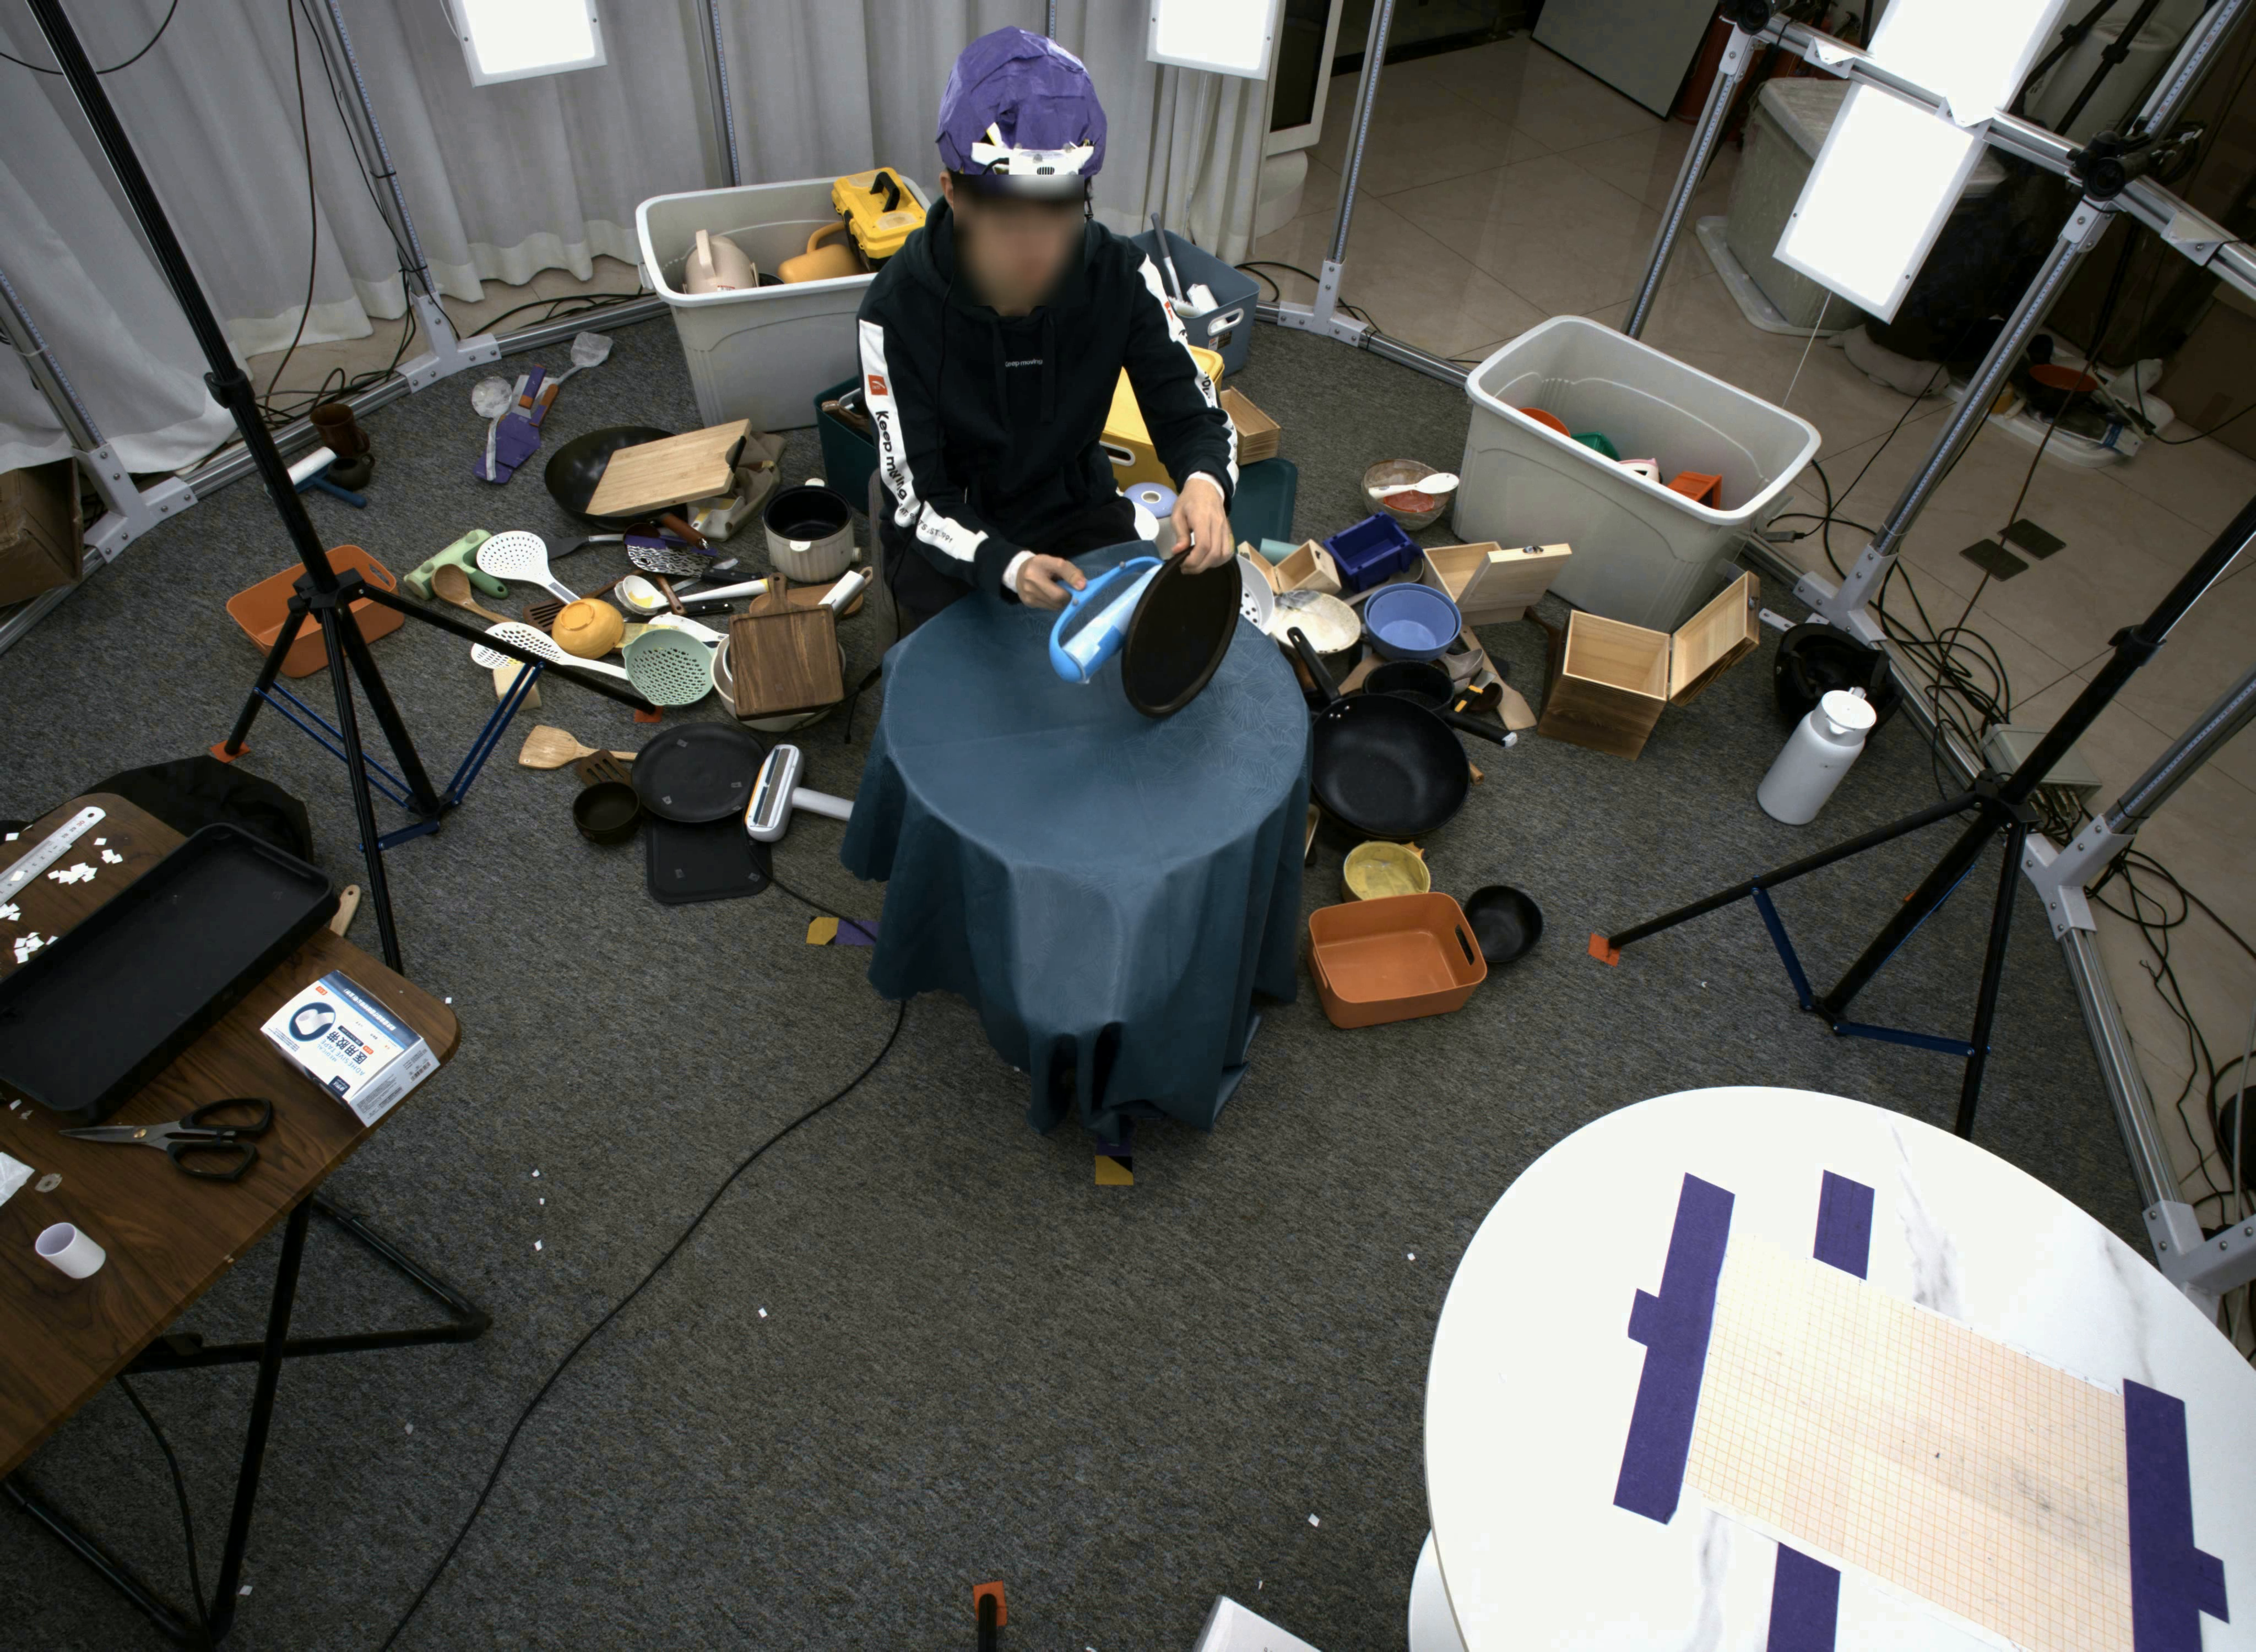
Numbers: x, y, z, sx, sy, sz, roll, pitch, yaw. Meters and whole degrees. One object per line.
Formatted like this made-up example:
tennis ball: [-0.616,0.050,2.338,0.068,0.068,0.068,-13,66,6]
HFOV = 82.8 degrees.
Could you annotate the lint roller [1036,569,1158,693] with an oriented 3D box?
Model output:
lint roller: [-0.058,-0.288,1.747,0.182,0.066,0.231,33,63,21]

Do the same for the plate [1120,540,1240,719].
plate: [0.072,-0.266,1.744,0.029,0.248,0.258,27,52,28]
